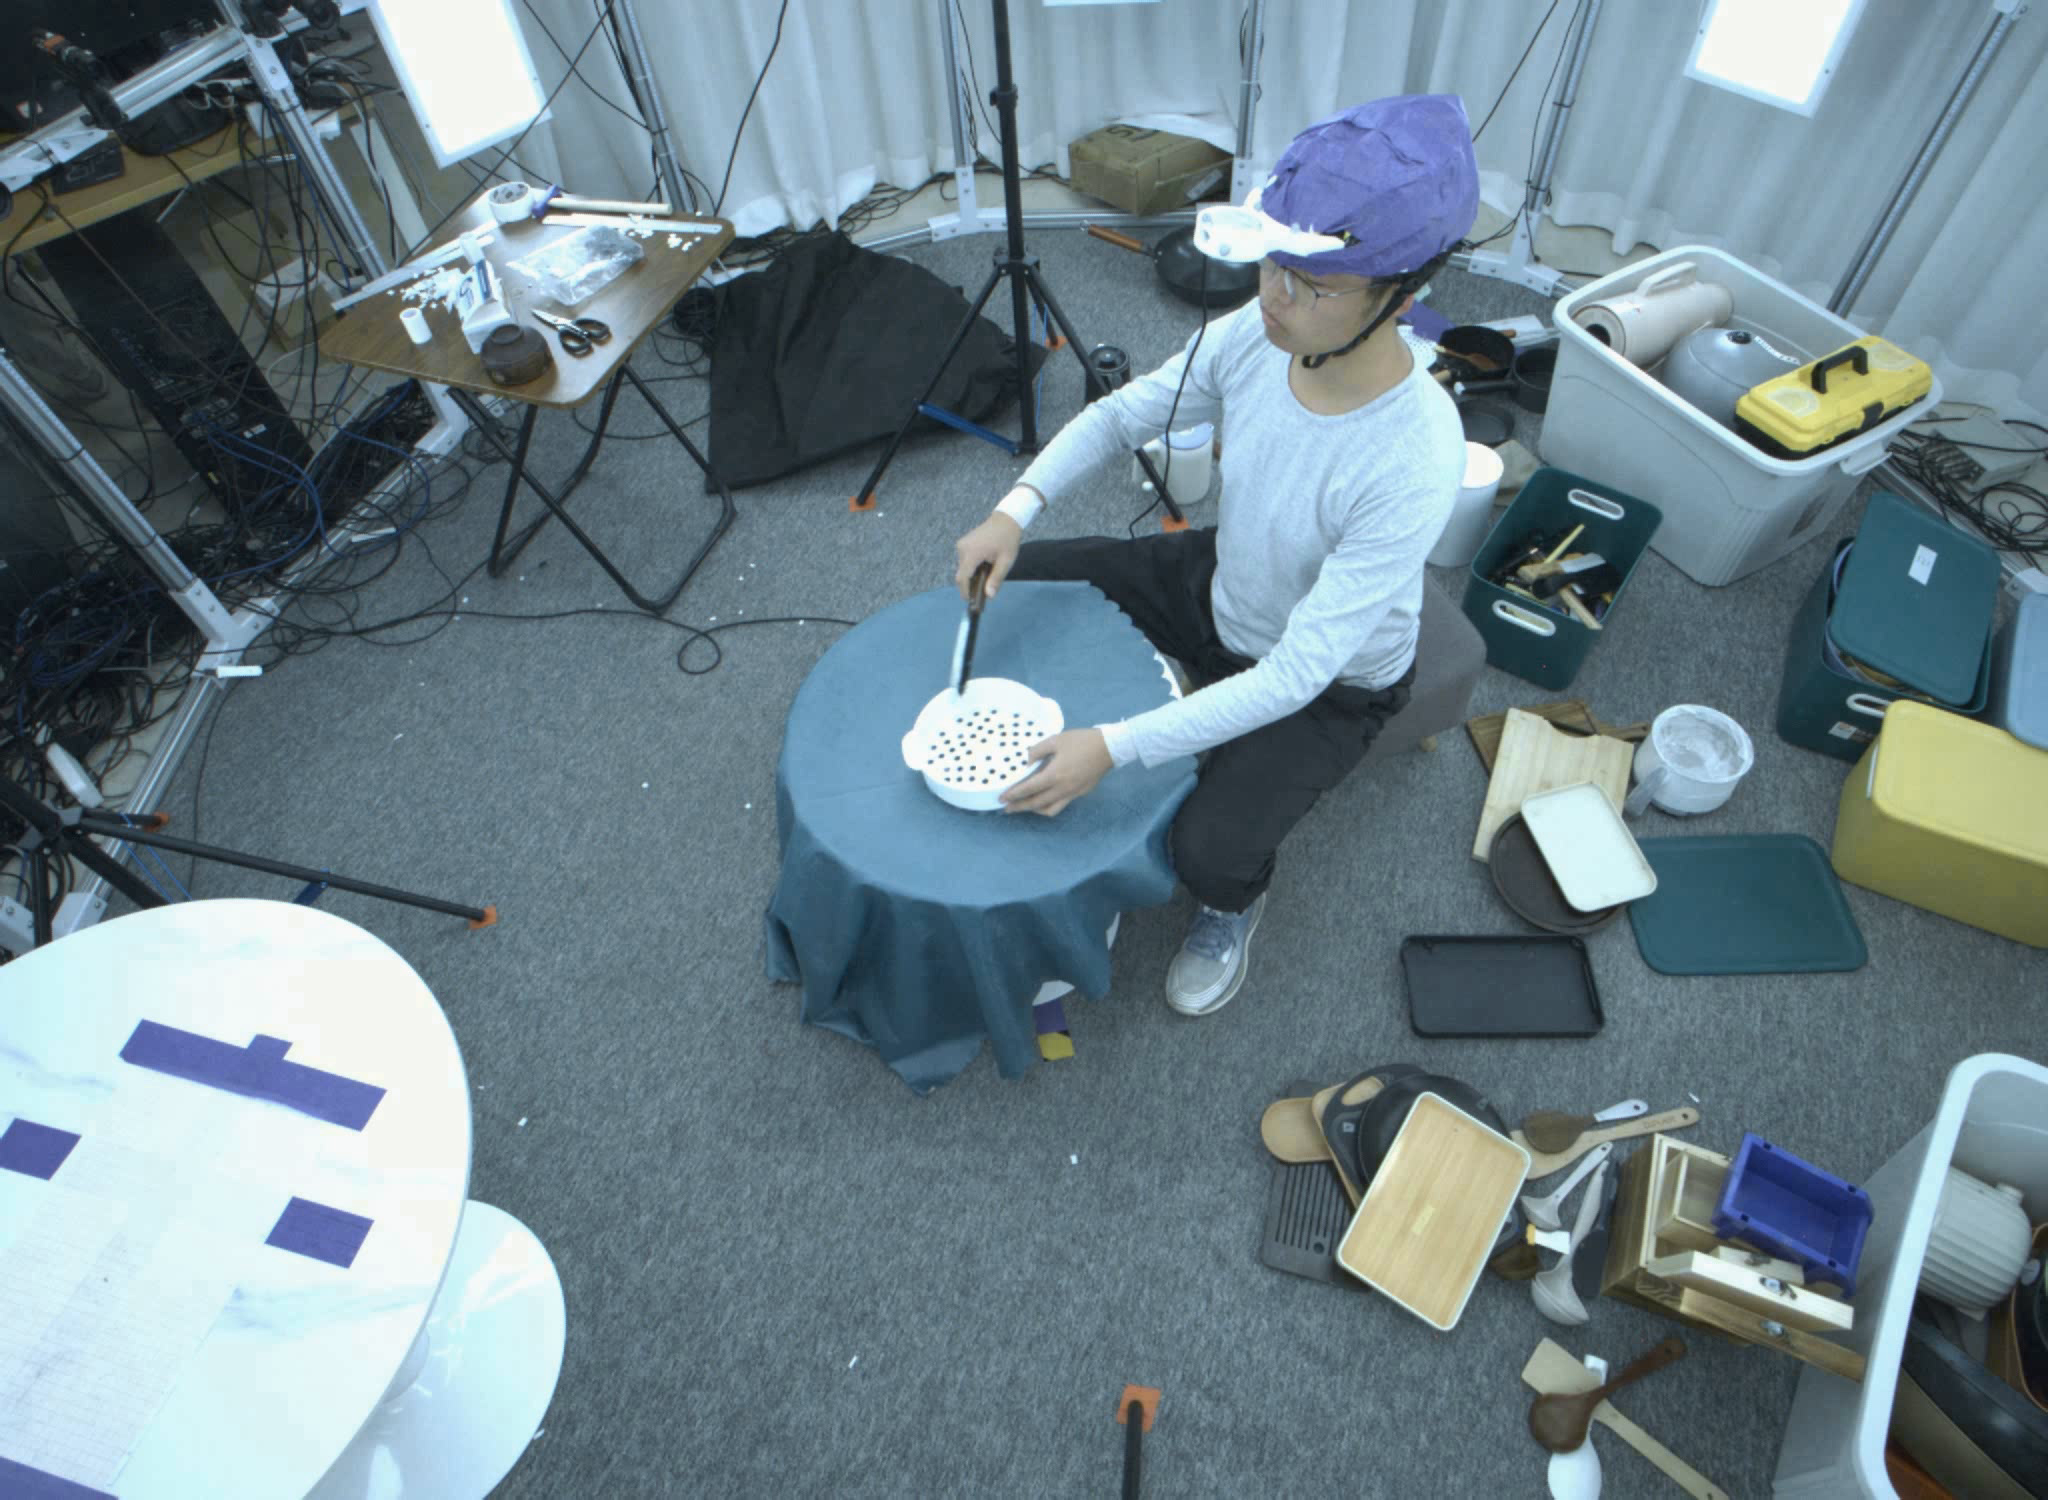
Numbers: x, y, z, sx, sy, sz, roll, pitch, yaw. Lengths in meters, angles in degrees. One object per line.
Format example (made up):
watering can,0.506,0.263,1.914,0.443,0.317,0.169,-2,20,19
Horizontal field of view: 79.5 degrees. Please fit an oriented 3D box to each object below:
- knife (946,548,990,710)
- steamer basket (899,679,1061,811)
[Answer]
knife,-0.081,-0.175,1.740,0.020,0.049,0.287,31,52,-29
steamer basket,-0.060,-0.006,1.756,0.231,0.070,0.198,-13,54,-5
